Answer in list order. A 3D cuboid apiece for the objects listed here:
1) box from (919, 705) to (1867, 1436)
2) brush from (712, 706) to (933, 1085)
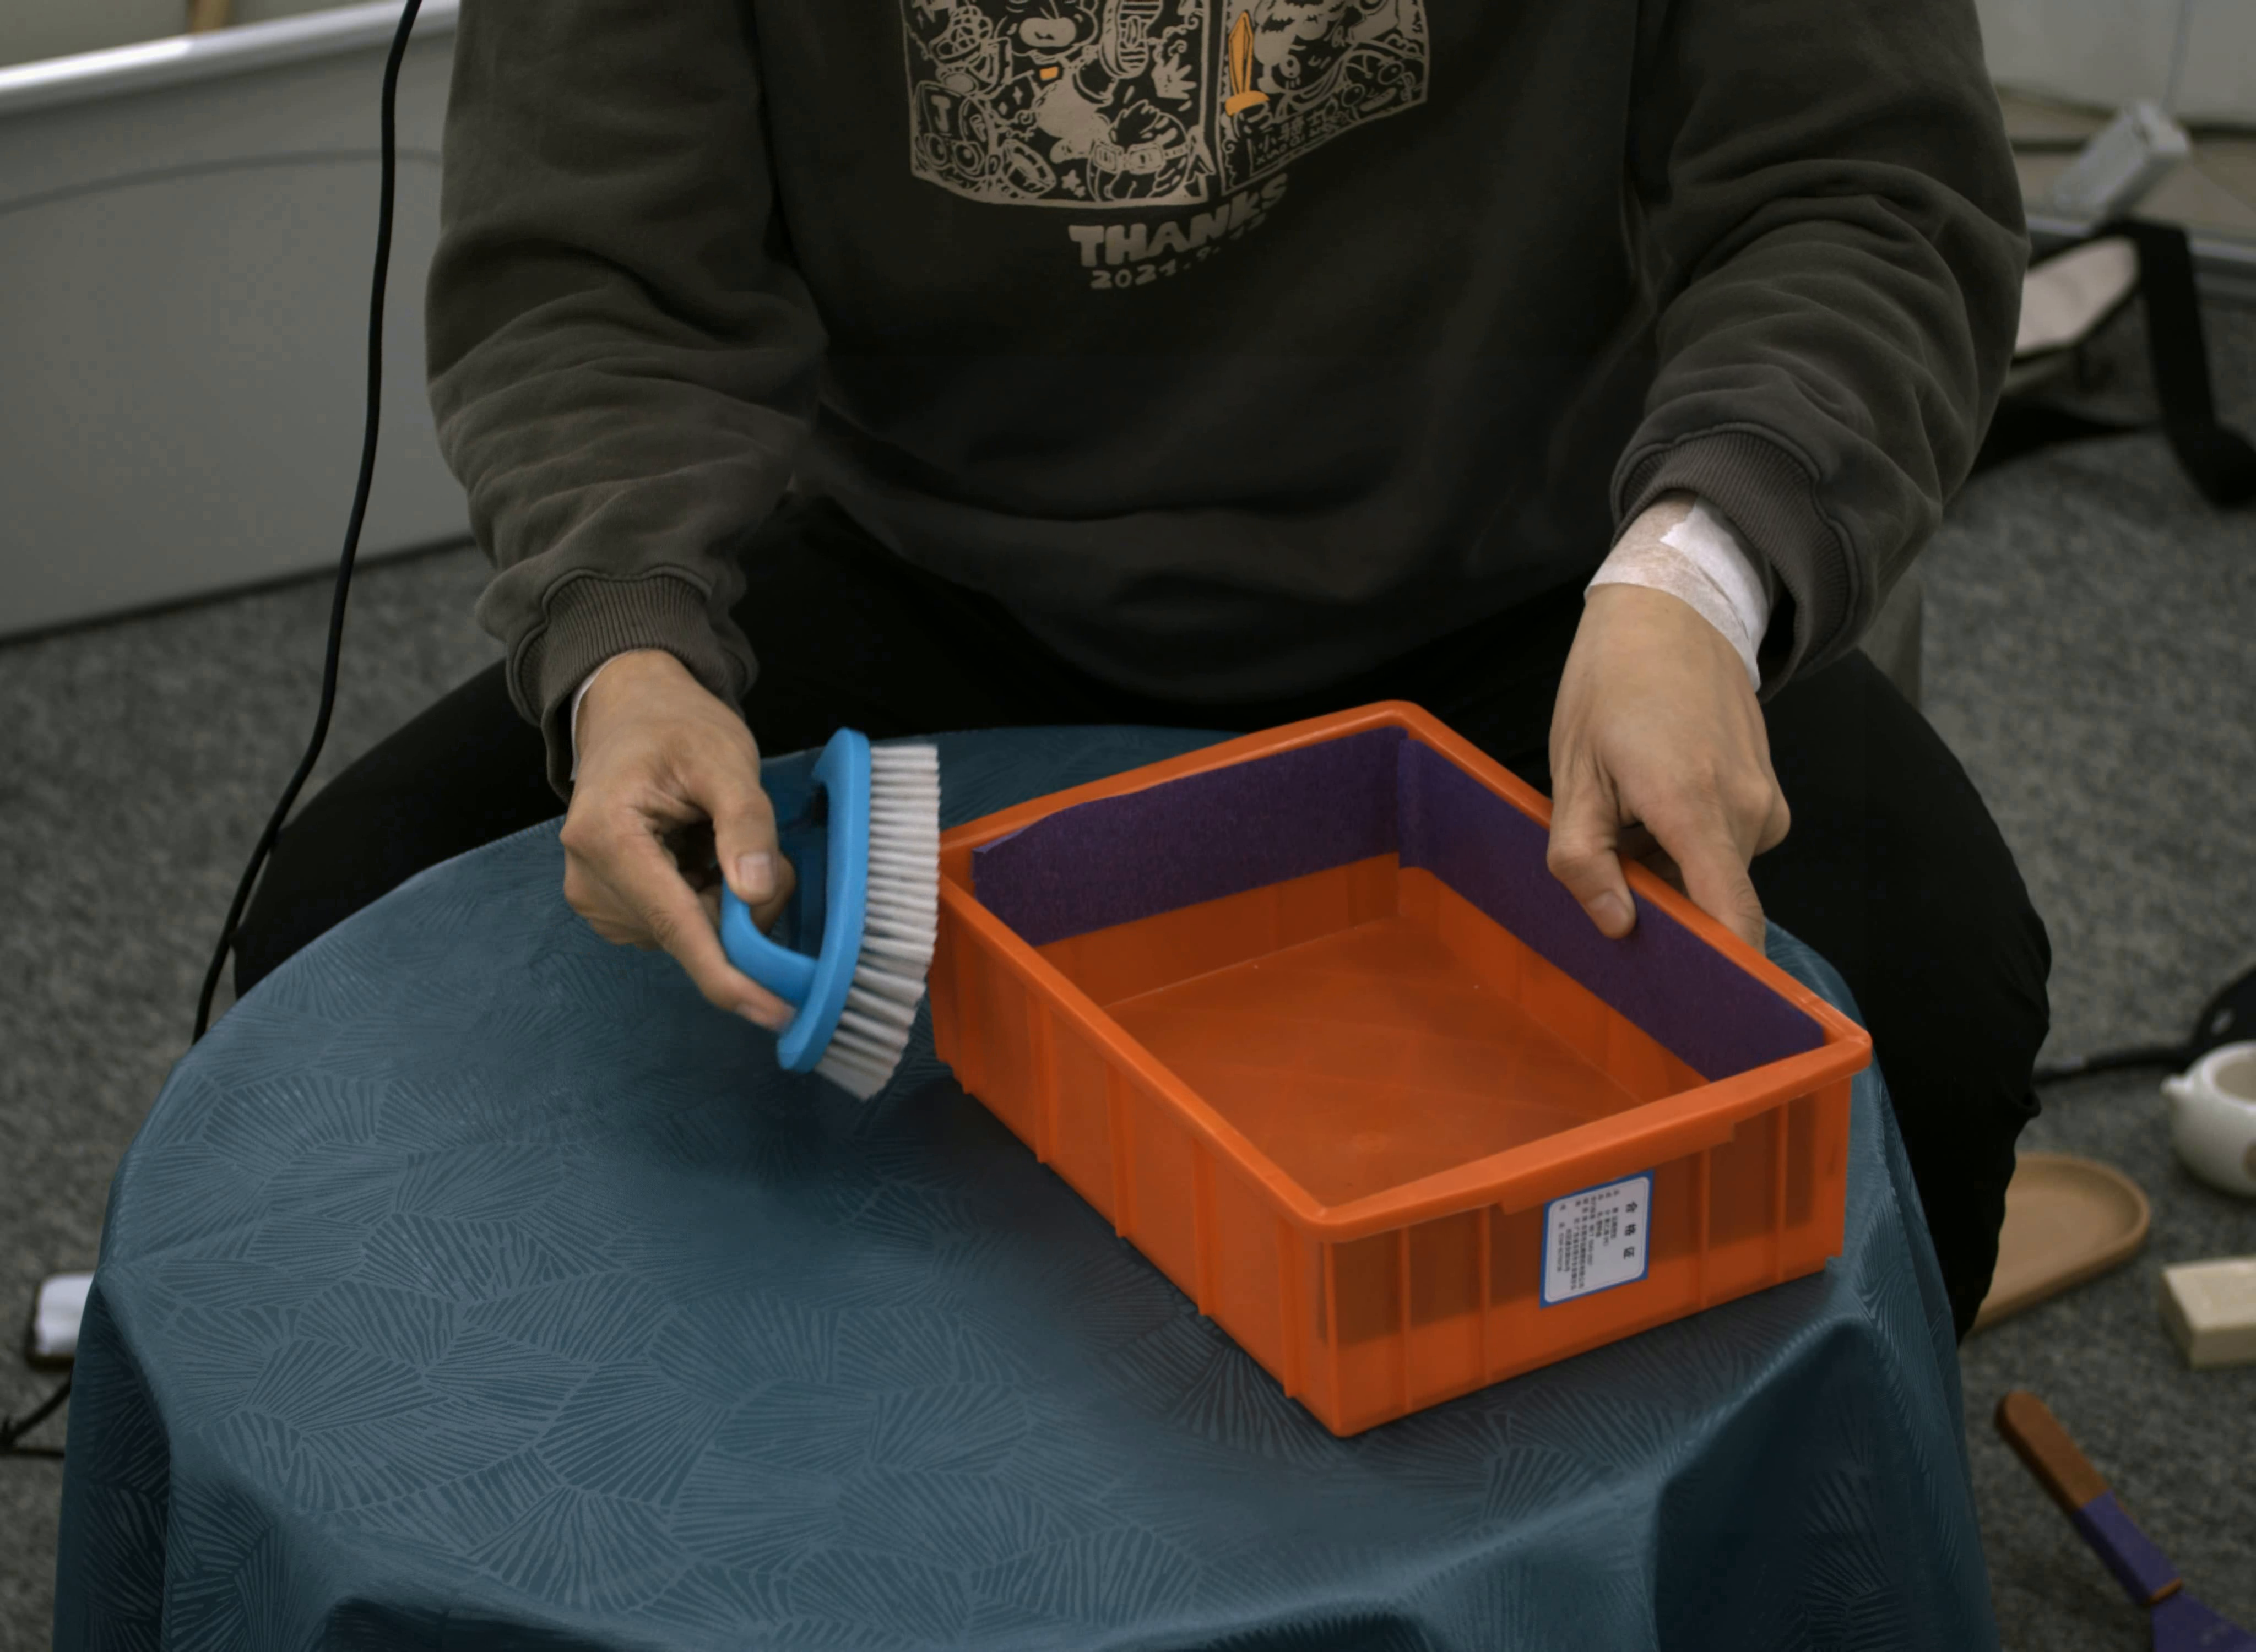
[{"bbox_3d":[0.078,0.076,1.849,0.207,0.095,0.305,-16,30,-23],"label":"box"},{"bbox_3d":[-0.106,0.022,1.881,0.063,0.083,0.145,14,44,-12],"label":"brush"}]
